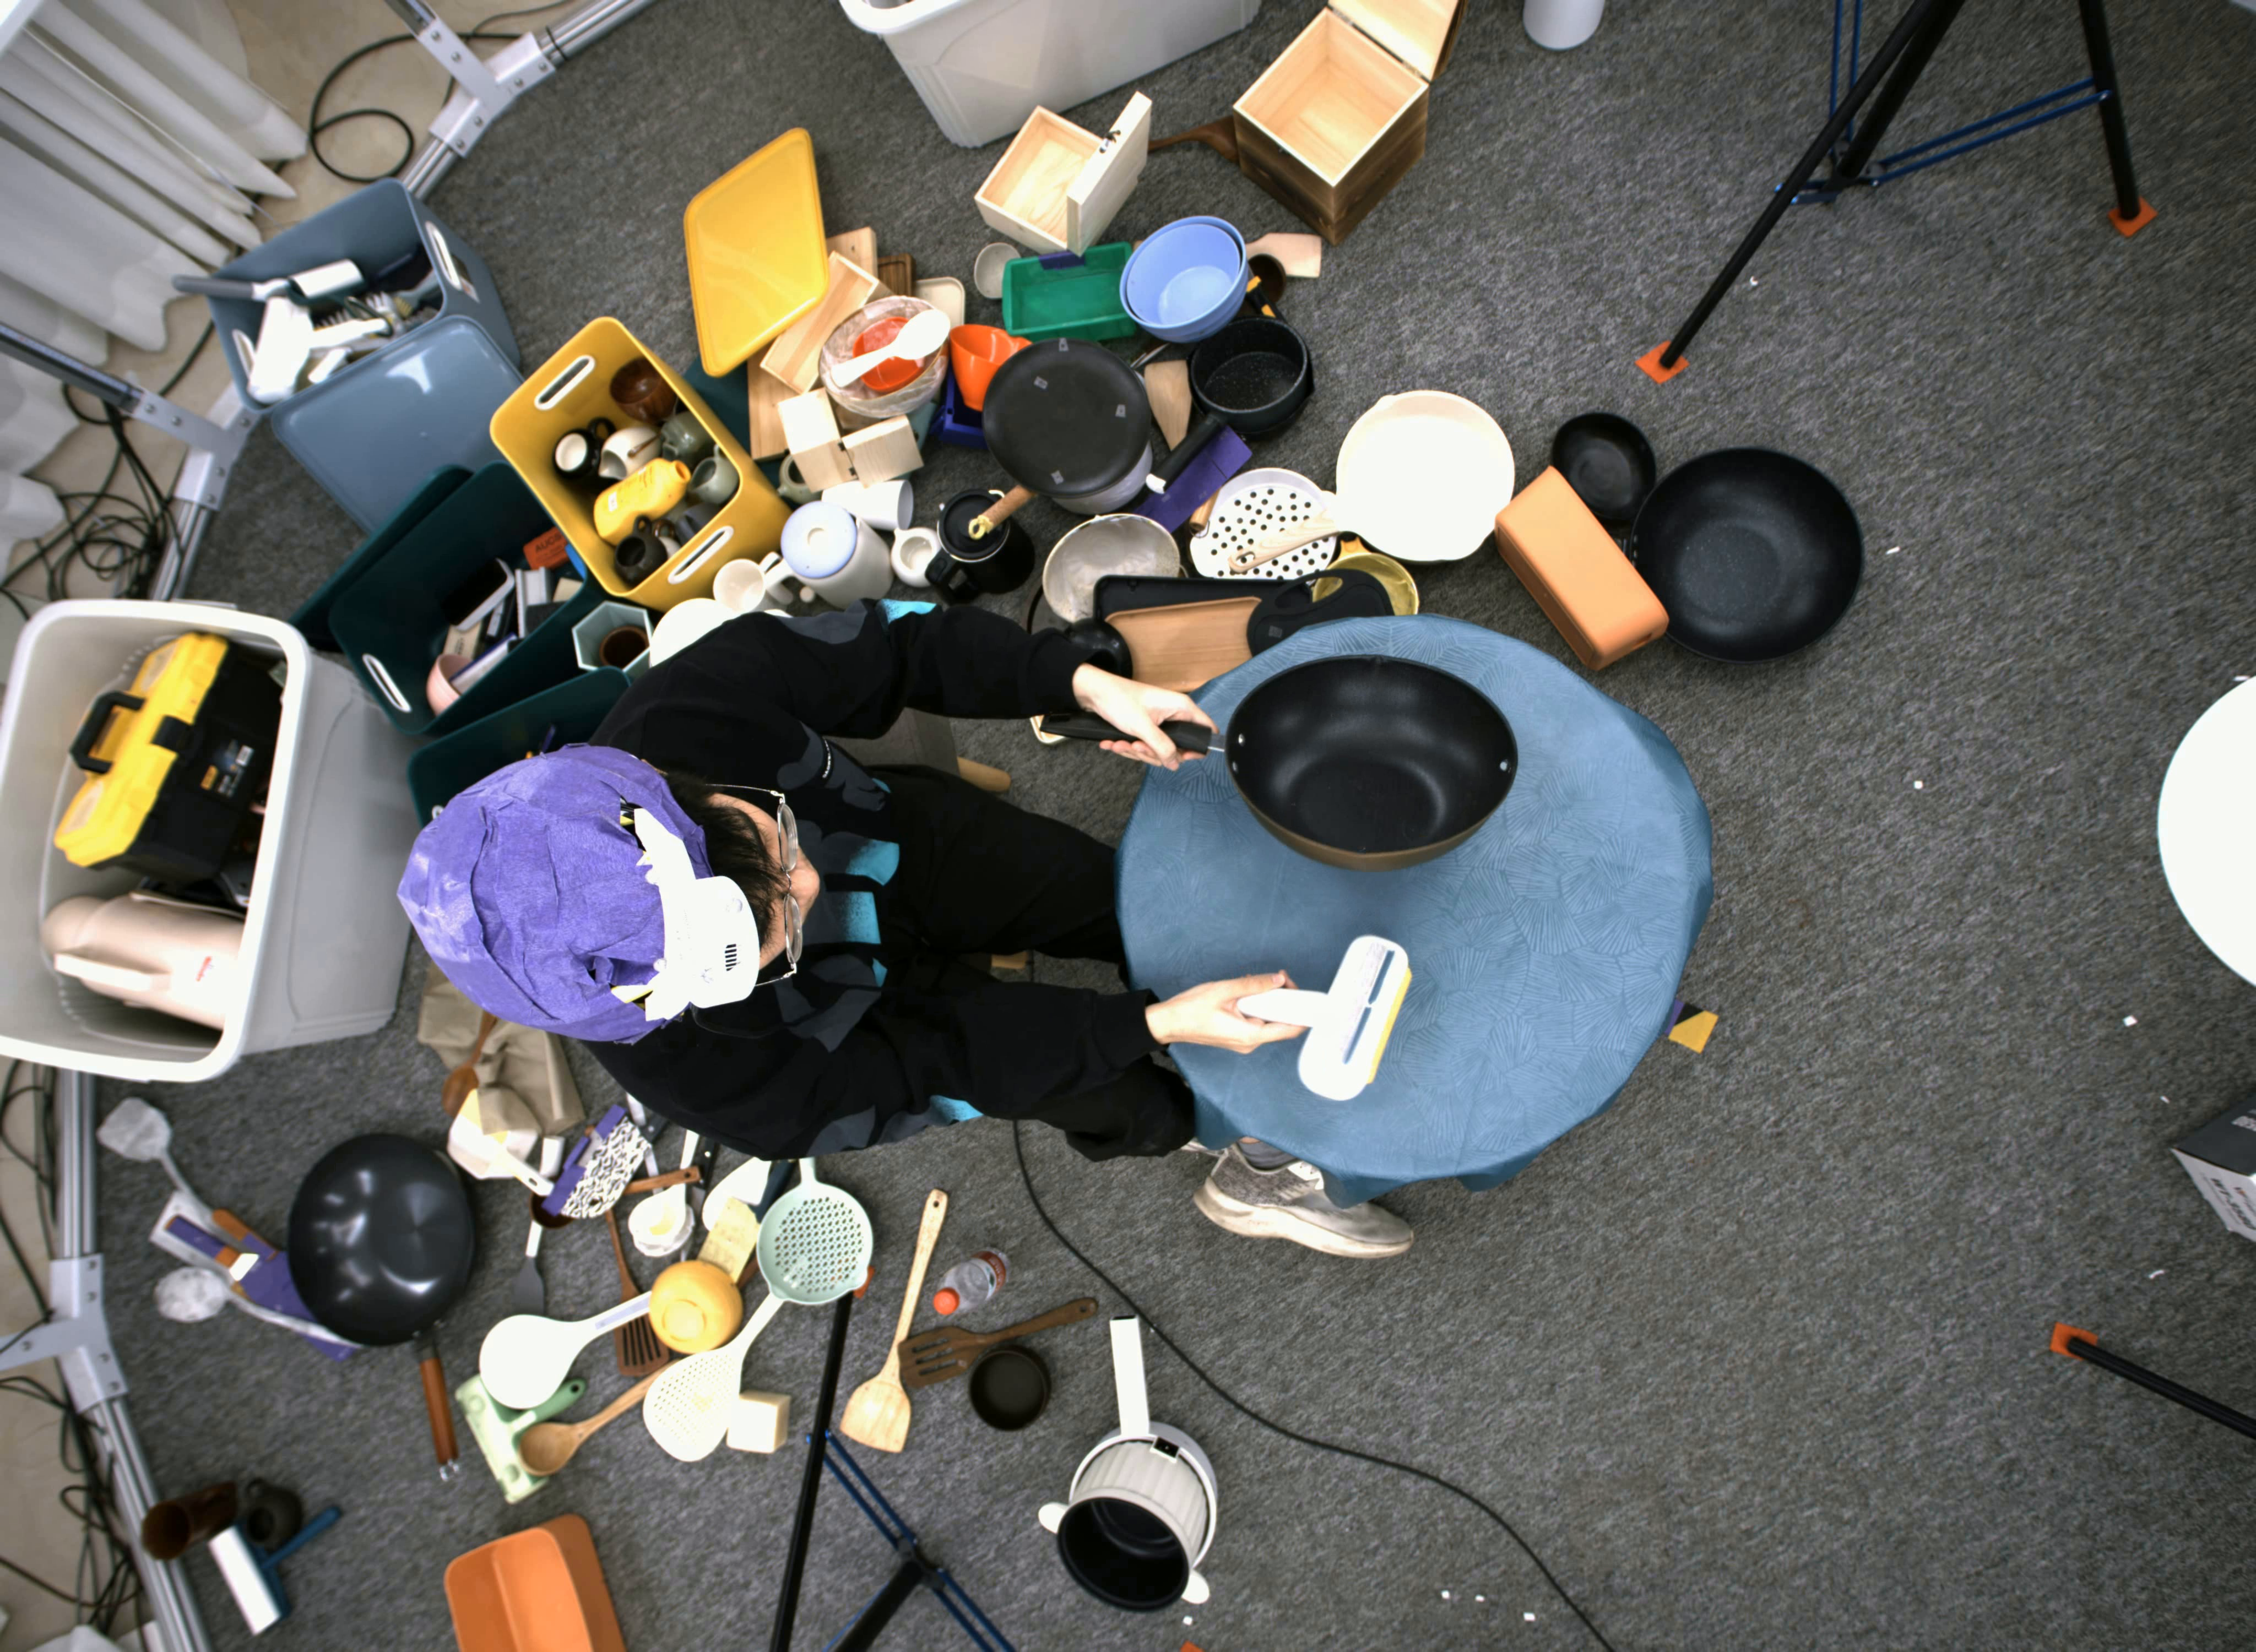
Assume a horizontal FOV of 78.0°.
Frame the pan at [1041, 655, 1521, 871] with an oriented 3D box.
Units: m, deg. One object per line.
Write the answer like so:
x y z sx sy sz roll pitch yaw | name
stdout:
0.144 -0.059 1.351 0.465 0.089 0.280 5 47 11 | pan

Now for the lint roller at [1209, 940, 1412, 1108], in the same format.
0.170 0.181 1.383 0.192 0.076 0.188 15 52 21 | lint roller
